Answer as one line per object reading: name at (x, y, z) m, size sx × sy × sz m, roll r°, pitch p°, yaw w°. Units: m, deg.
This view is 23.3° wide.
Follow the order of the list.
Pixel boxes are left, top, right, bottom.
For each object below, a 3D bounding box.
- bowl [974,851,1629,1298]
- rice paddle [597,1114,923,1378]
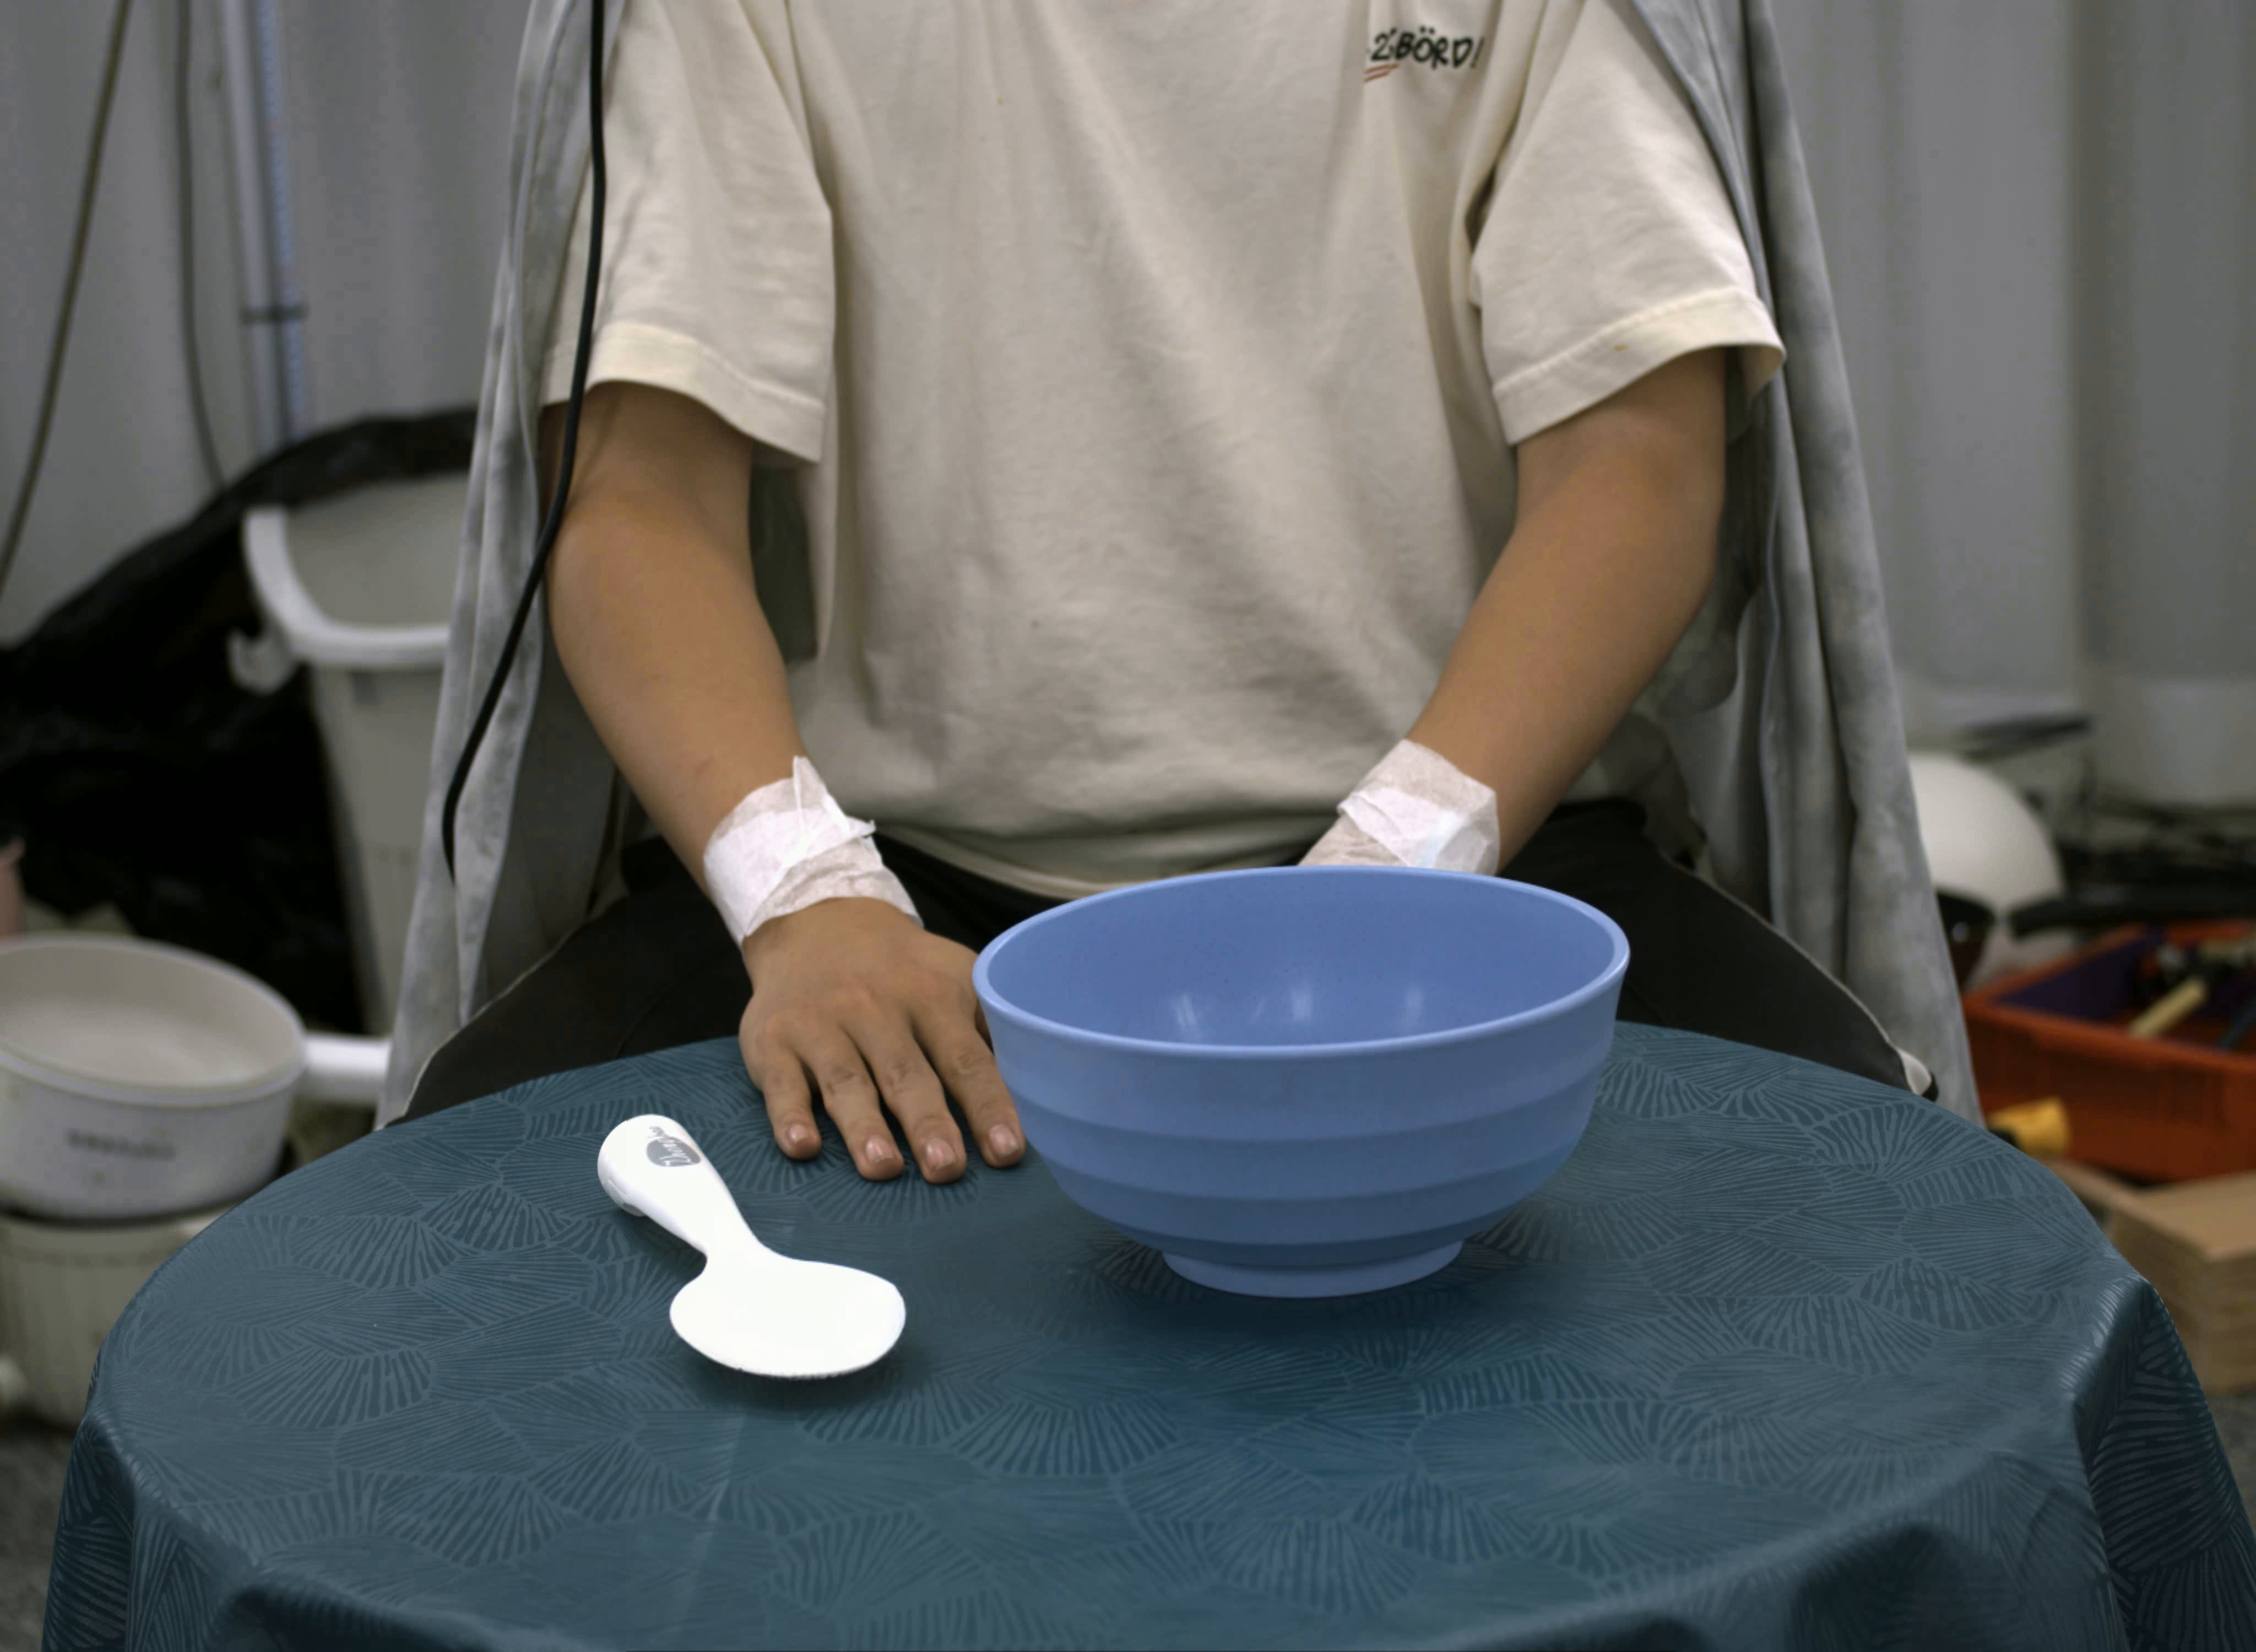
bowl at (0.054, 0.081, 1.647) m, size 0.196 × 0.095 × 0.198 m, roll -3°, pitch 17°, yaw 1°
rice paddle at (-0.116, 0.128, 1.634) m, size 0.068 × 0.029 × 0.207 m, roll -10°, pitch 16°, yaw -19°
